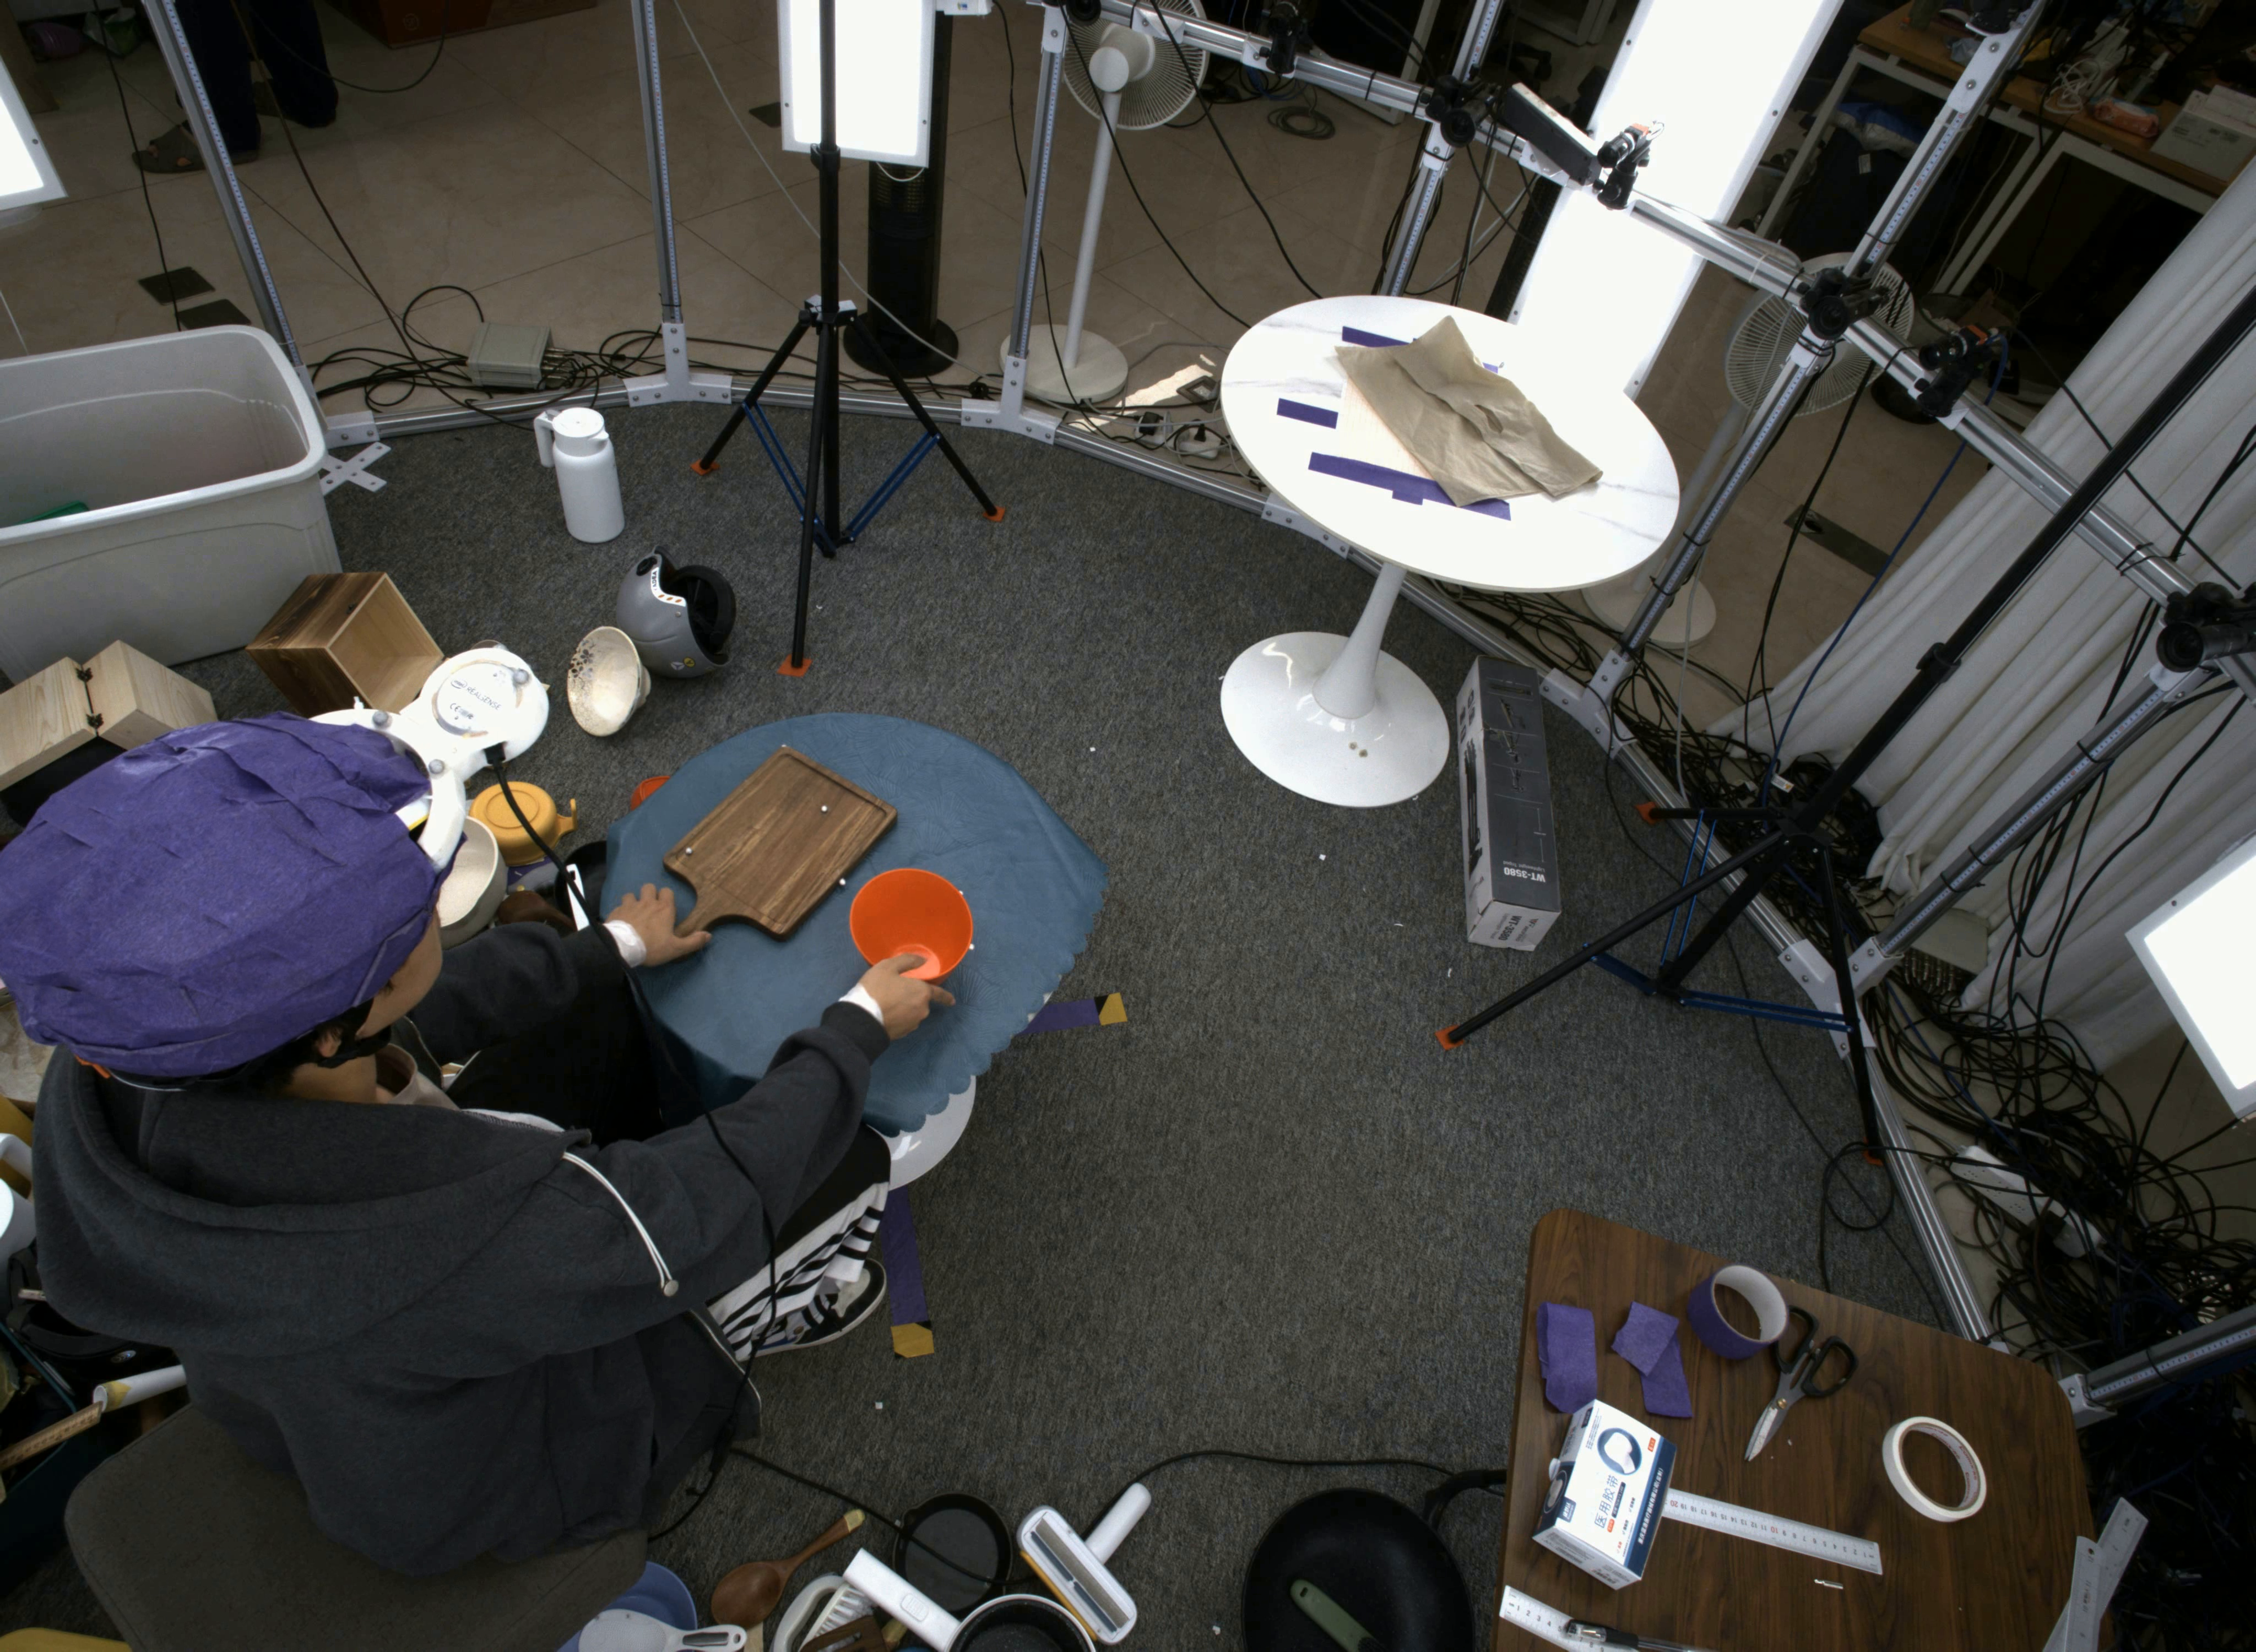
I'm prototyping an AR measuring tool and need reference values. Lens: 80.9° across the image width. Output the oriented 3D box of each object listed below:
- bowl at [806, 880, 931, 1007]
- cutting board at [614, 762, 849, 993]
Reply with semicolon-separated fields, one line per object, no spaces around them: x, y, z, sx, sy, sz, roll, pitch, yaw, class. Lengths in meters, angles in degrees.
-0.314;0.154;1.577;0.148;0.107;0.145;8;51;-8;bowl
-0.530;0.071;1.635;0.198;0.023;0.350;27;52;7;cutting board
